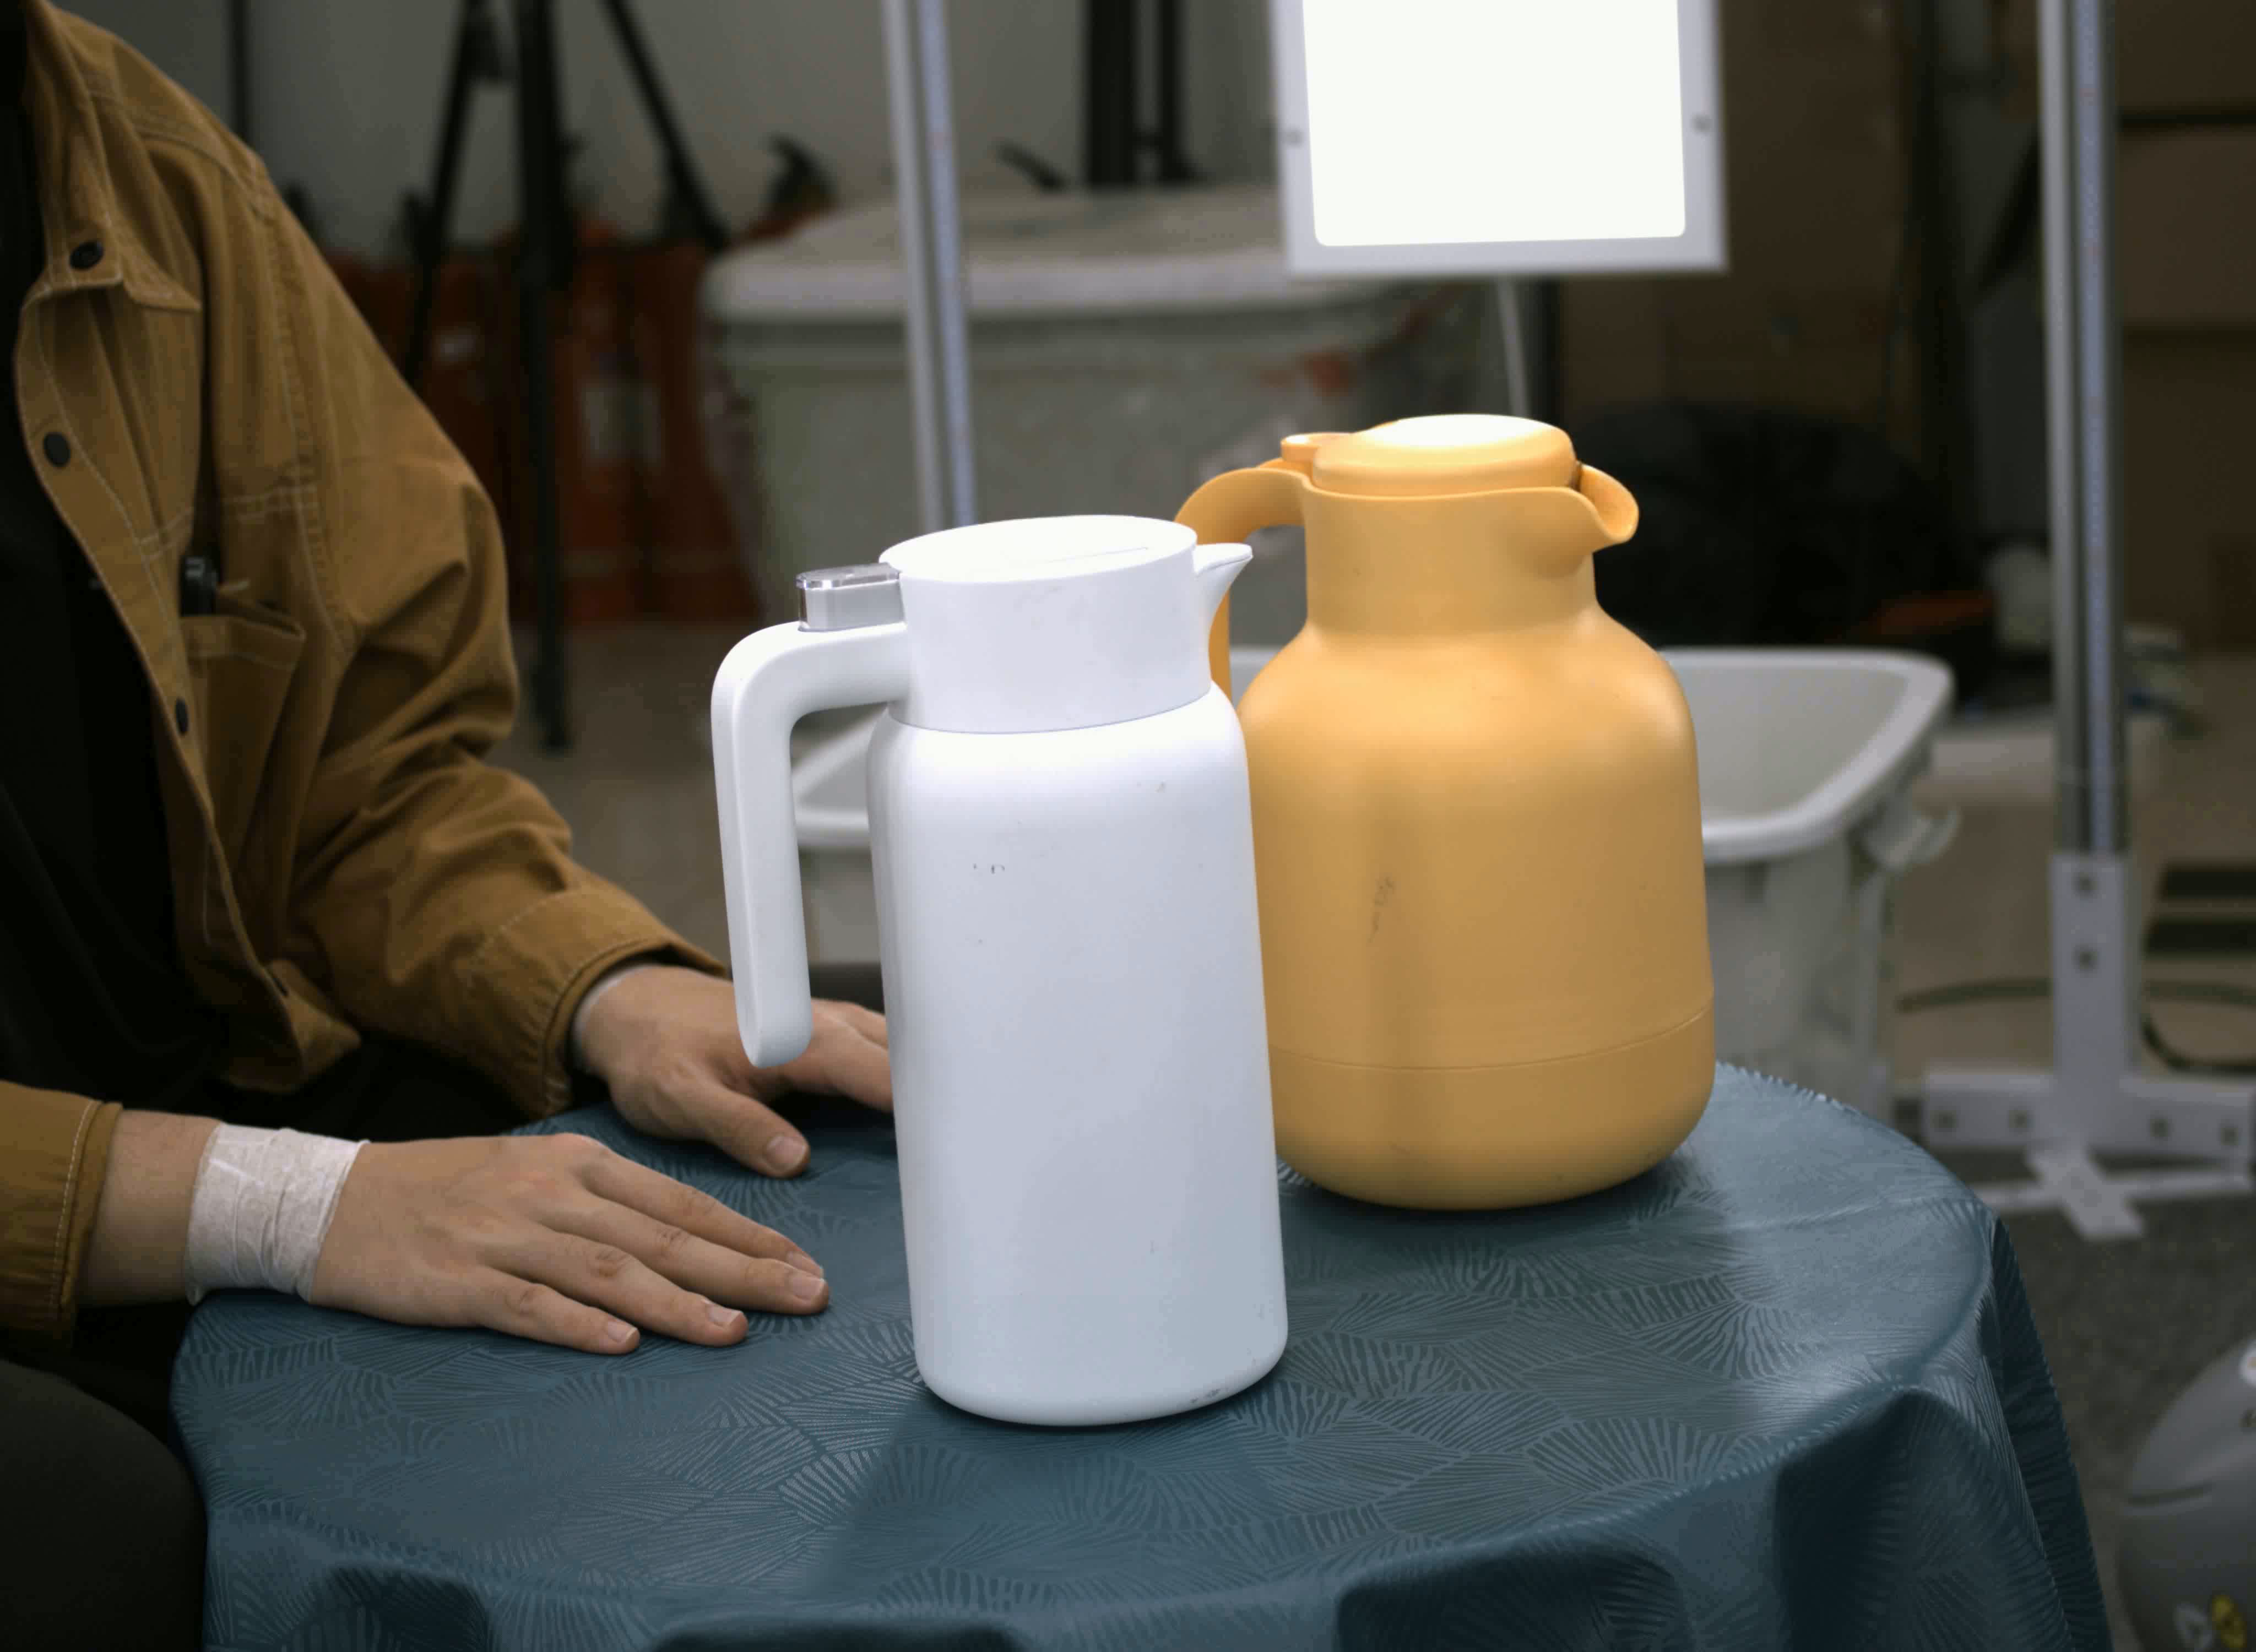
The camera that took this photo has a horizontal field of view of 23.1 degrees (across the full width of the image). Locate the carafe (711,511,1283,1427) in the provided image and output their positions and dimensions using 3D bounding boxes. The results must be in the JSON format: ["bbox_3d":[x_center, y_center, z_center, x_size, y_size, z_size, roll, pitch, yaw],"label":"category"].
[{"bbox_3d":[-0.034,0.045,1.682,0.170,0.270,0.125,-9,16,-16],"label":"carafe"}]

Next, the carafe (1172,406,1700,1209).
[{"bbox_3d":[0.099,-0.013,1.876,0.207,0.261,0.159,11,18,43],"label":"carafe"}]
